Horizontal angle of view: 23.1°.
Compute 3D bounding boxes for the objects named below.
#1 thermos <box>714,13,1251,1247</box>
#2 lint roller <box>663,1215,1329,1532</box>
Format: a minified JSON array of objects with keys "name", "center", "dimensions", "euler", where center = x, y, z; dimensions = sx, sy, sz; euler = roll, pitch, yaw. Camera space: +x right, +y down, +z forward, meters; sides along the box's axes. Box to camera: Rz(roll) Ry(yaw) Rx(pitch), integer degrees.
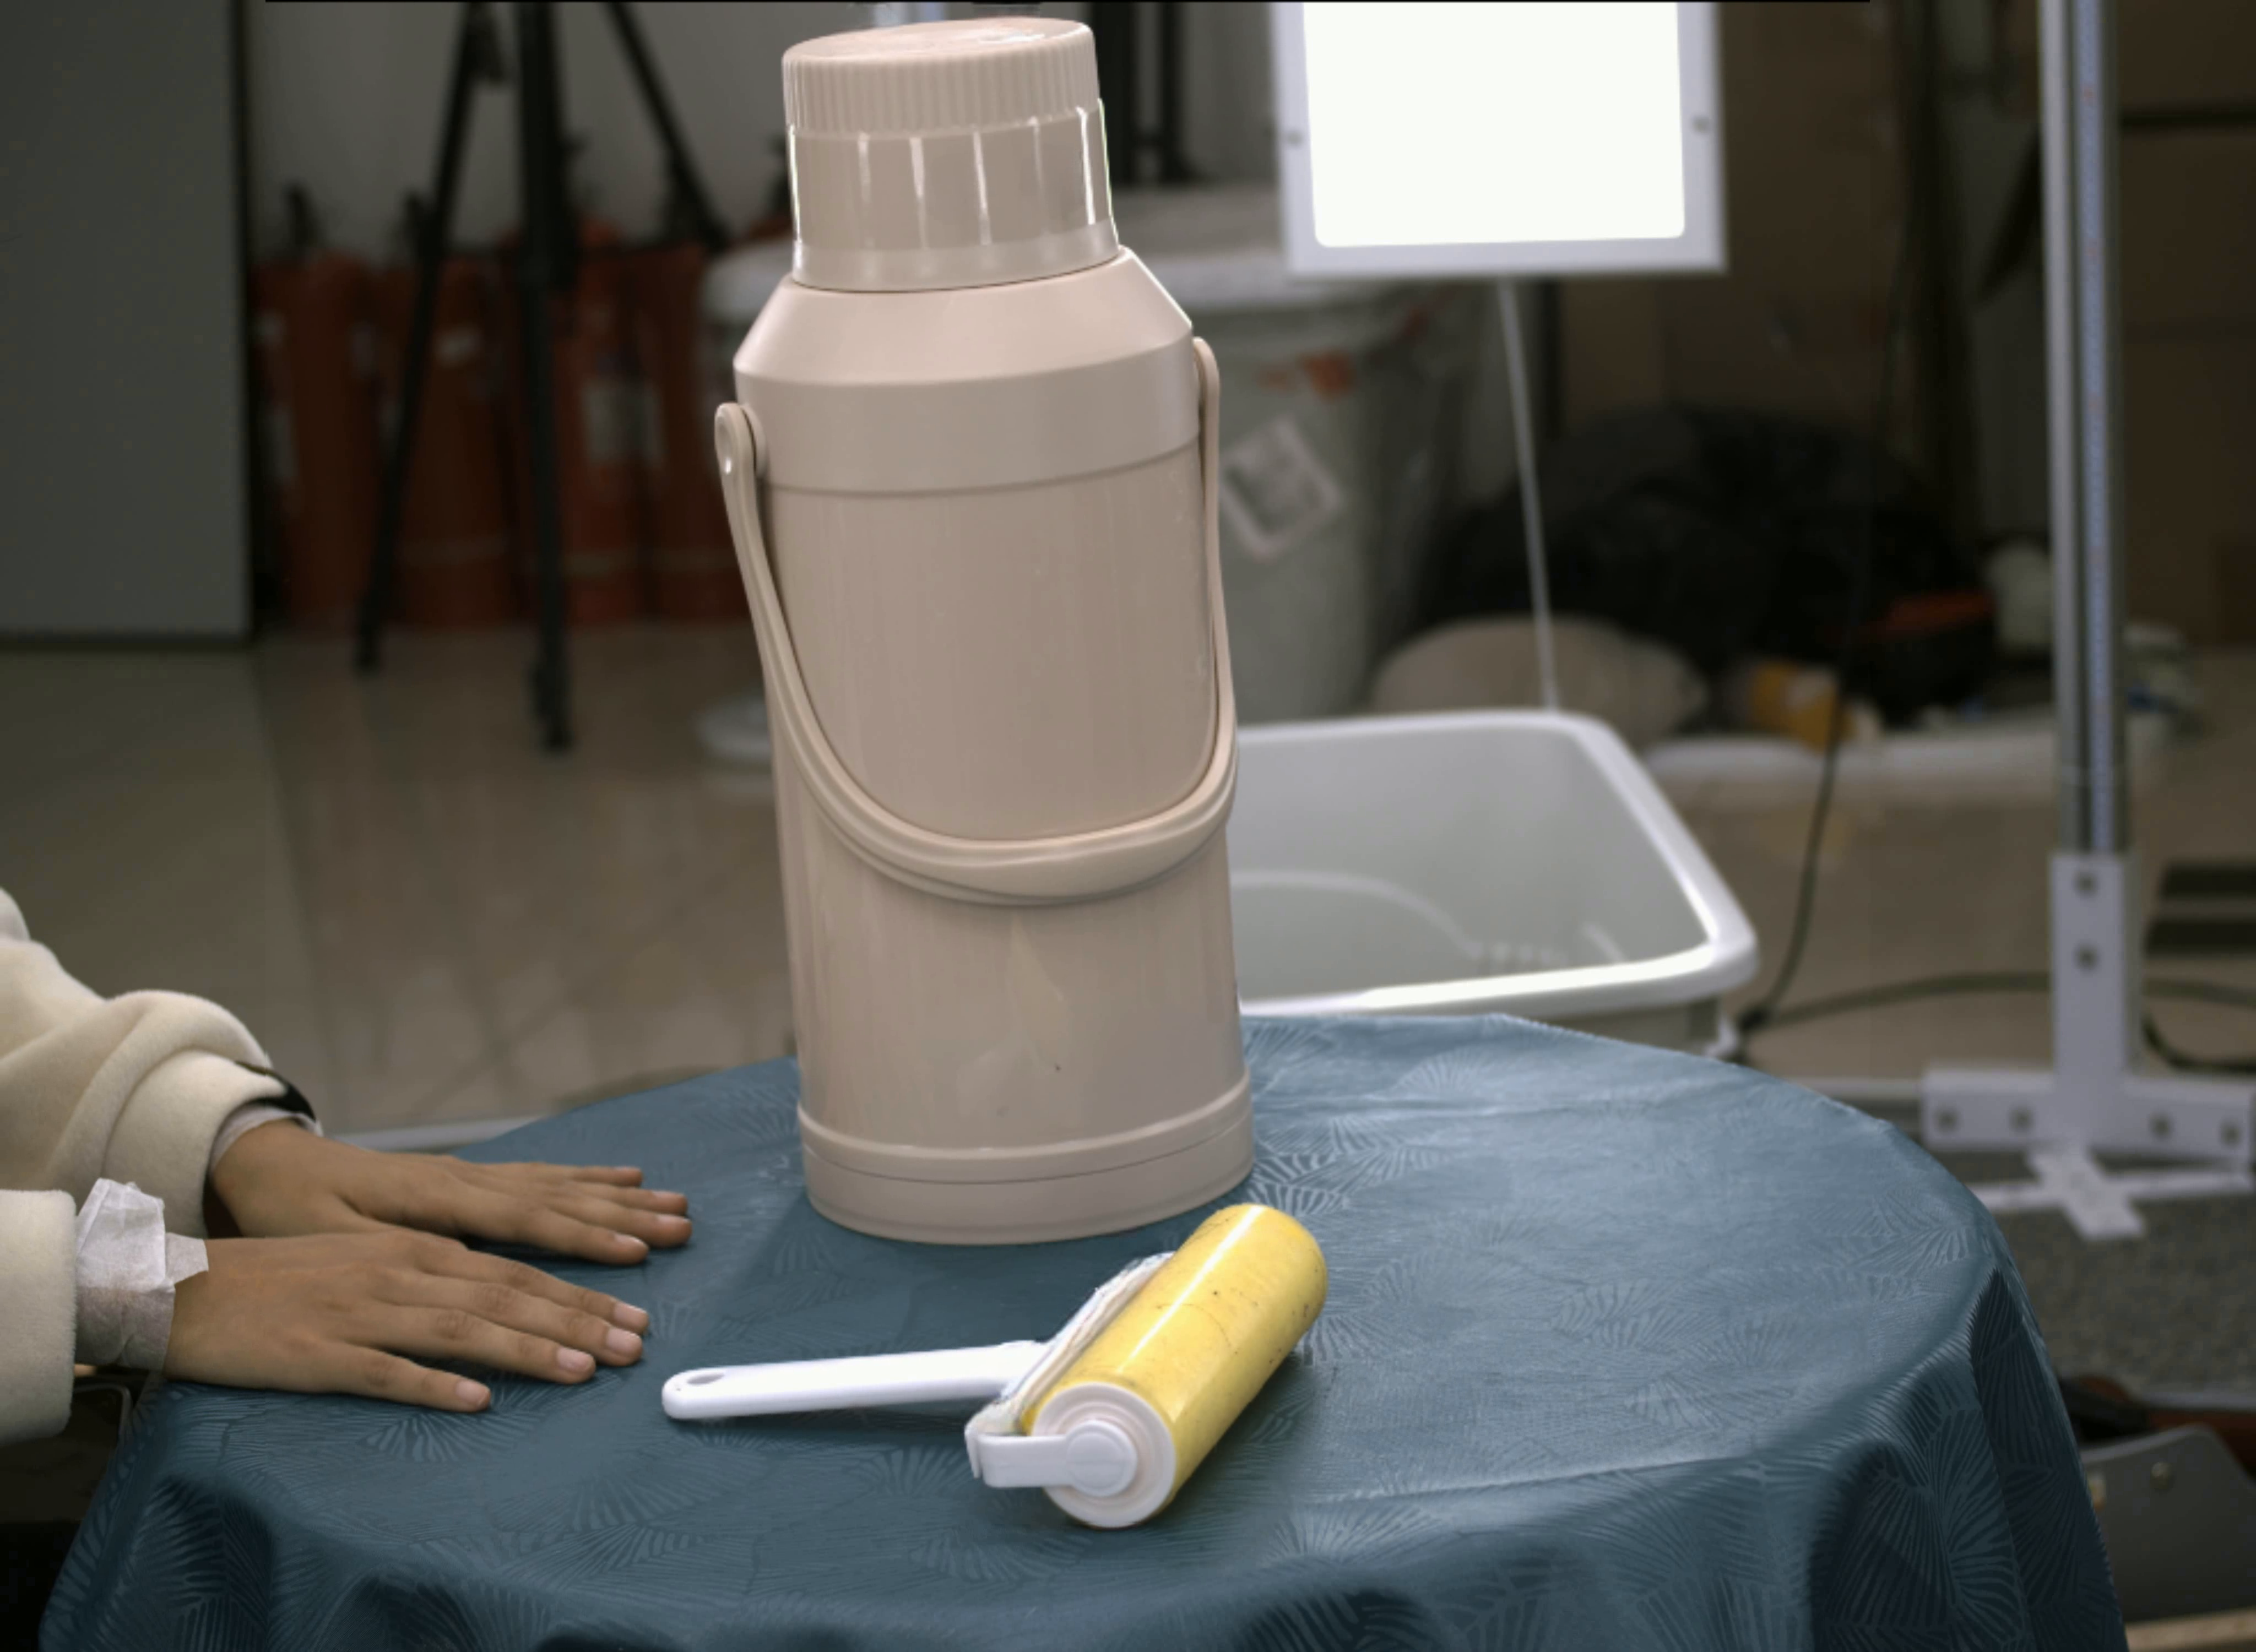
[{"name":"thermos","center":[-0.053,-0.072,1.892],"dimensions":[0.172,0.408,0.210],"euler":[-10,15,-20]},{"name":"lint roller","center":[-0.051,0.158,1.676],"dimensions":[0.194,0.051,0.171],"euler":[6,16,17]}]
